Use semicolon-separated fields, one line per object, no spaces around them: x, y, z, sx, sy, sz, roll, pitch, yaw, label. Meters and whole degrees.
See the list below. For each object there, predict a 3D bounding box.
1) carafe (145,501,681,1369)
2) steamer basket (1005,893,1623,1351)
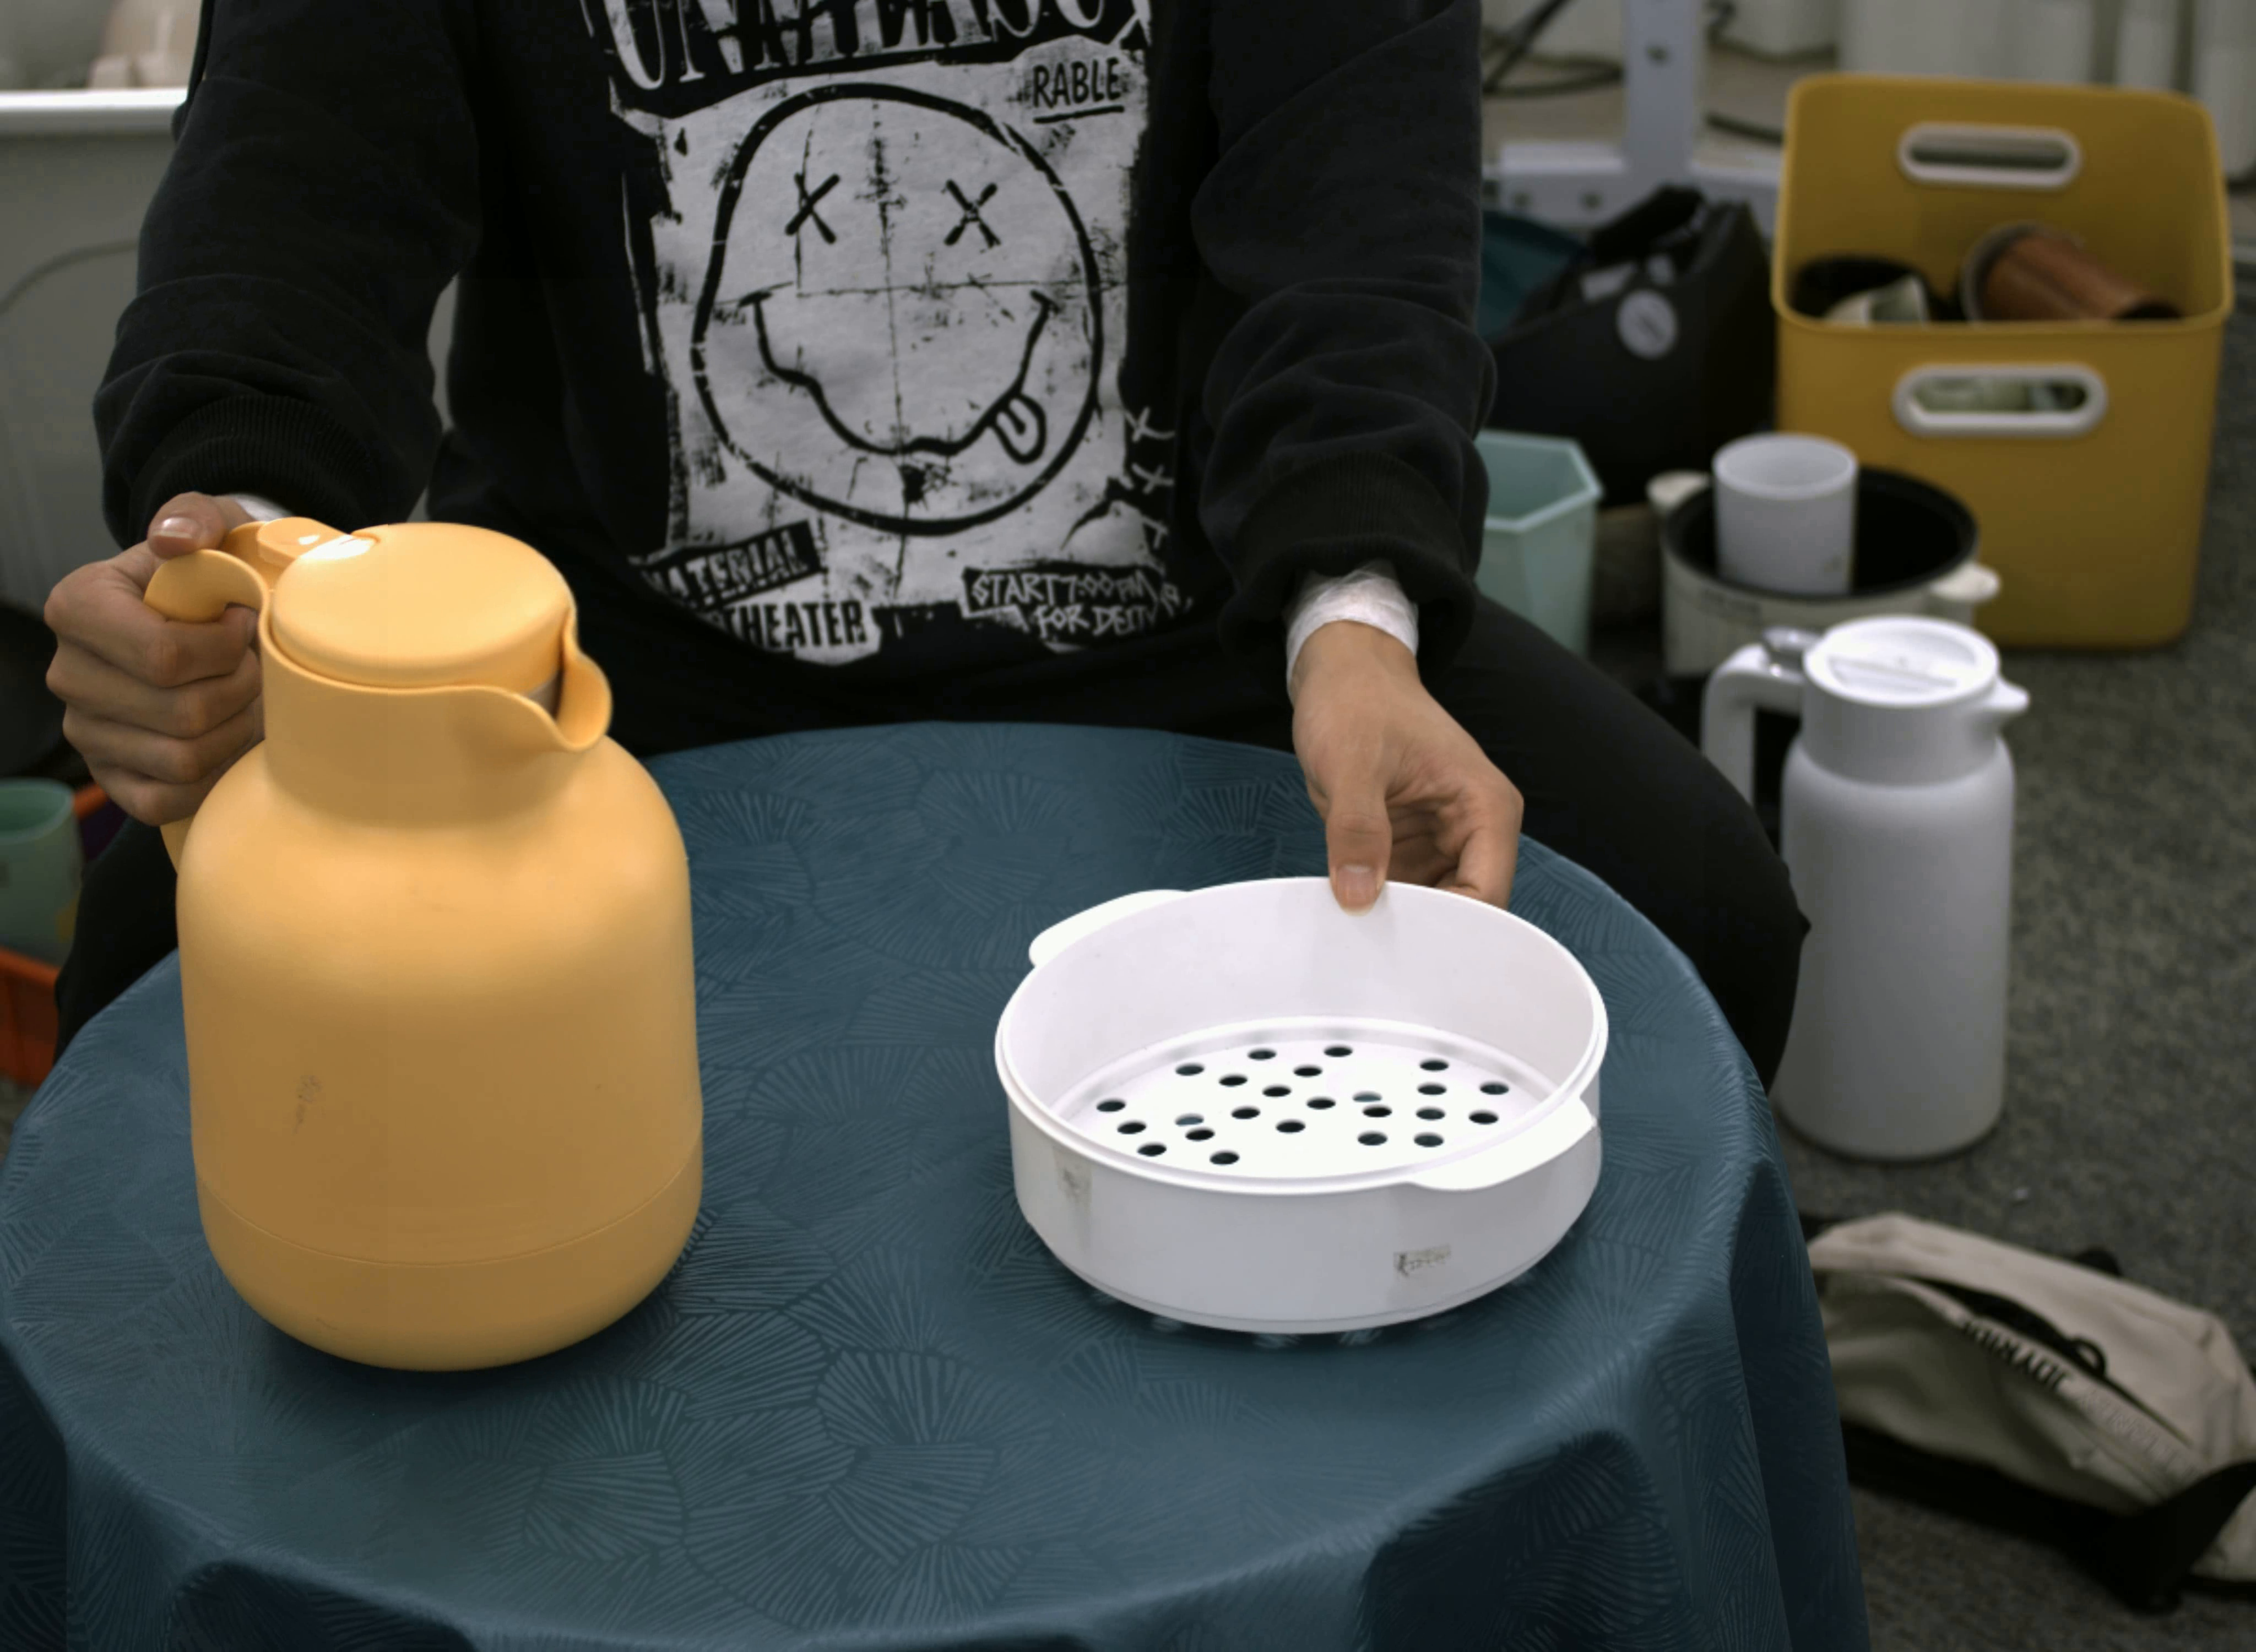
-0.234;0.024;1.776;0.202;0.257;0.165;27;35;35;carafe
0.061;0.097;1.835;0.204;0.068;0.230;-23;33;-33;steamer basket
